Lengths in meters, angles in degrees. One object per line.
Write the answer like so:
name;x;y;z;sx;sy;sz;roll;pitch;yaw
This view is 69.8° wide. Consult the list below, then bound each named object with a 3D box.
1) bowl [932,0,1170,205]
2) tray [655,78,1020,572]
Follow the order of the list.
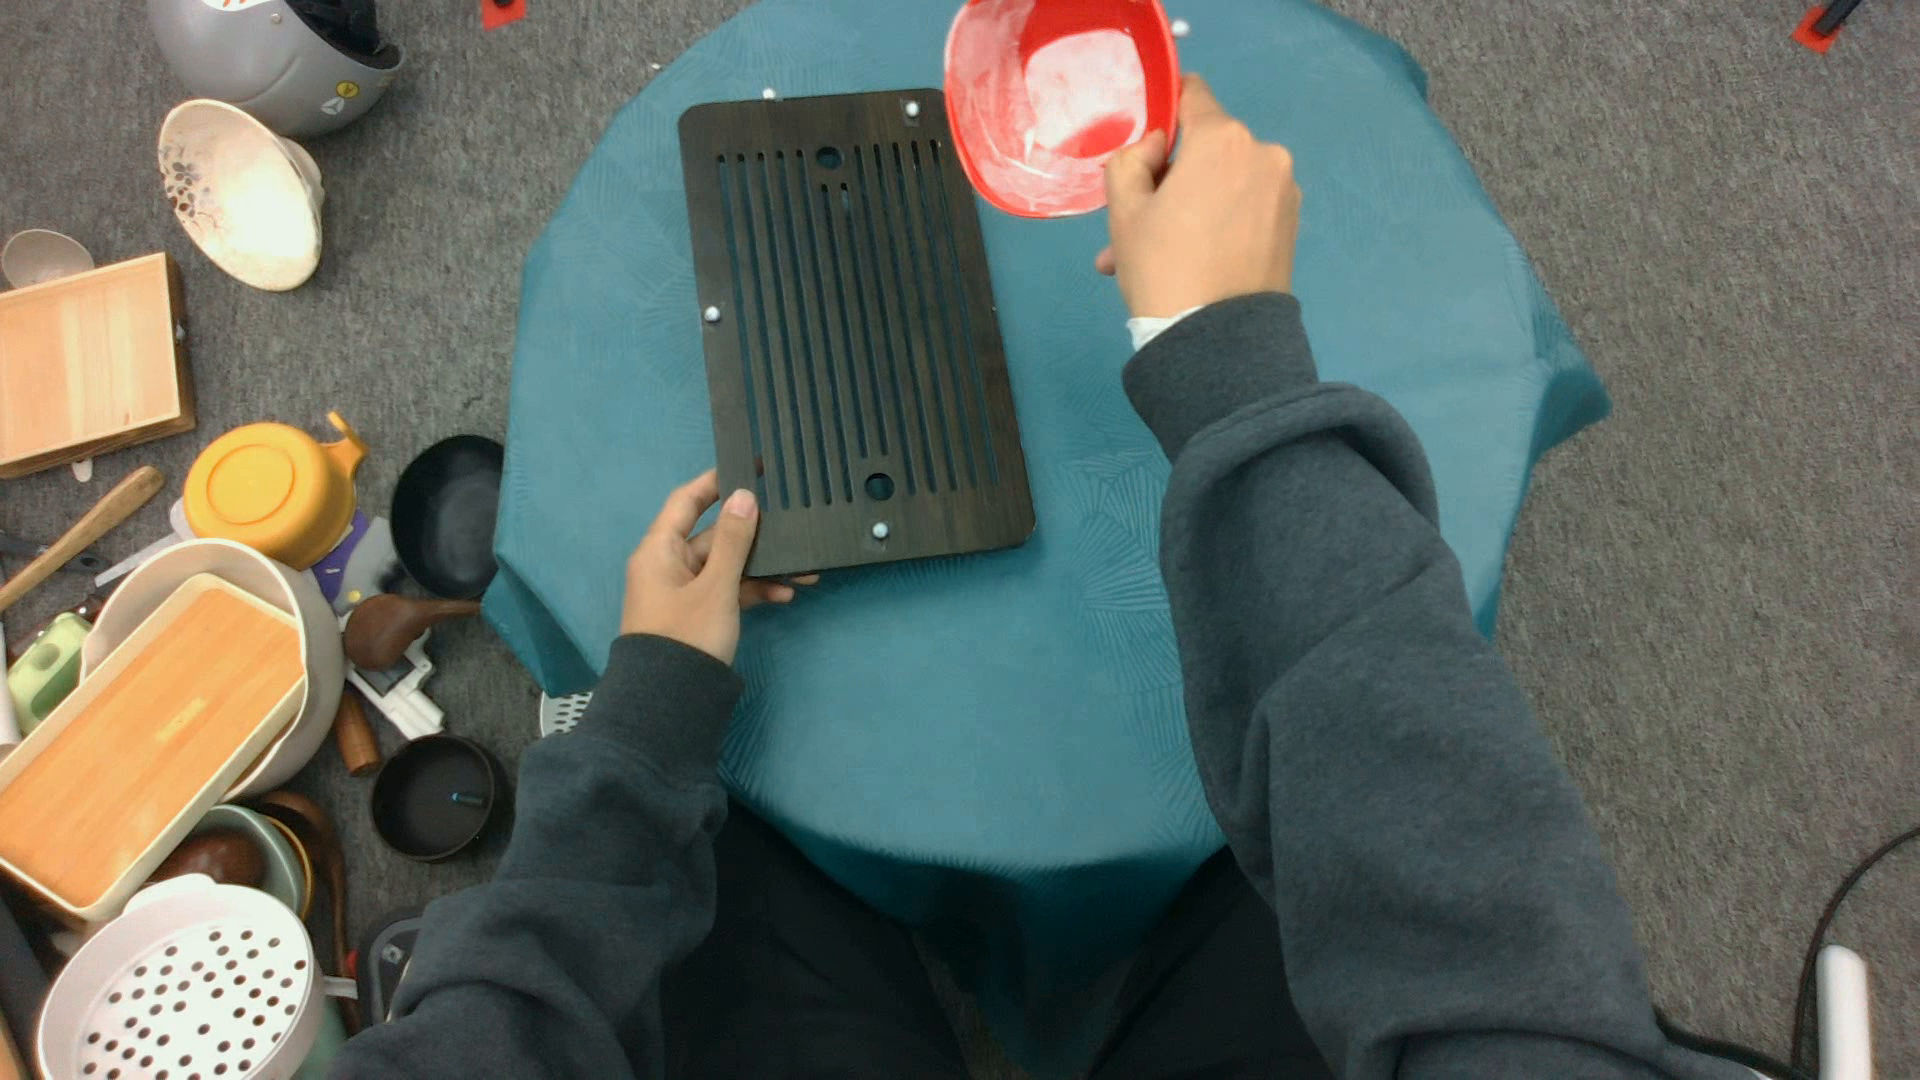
bowl;0.048;-0.214;0.651;0.119;0.051;0.118;3;101;18
tray;-0.075;-0.132;0.792;0.170;0.018;0.306;-7;70;-9
